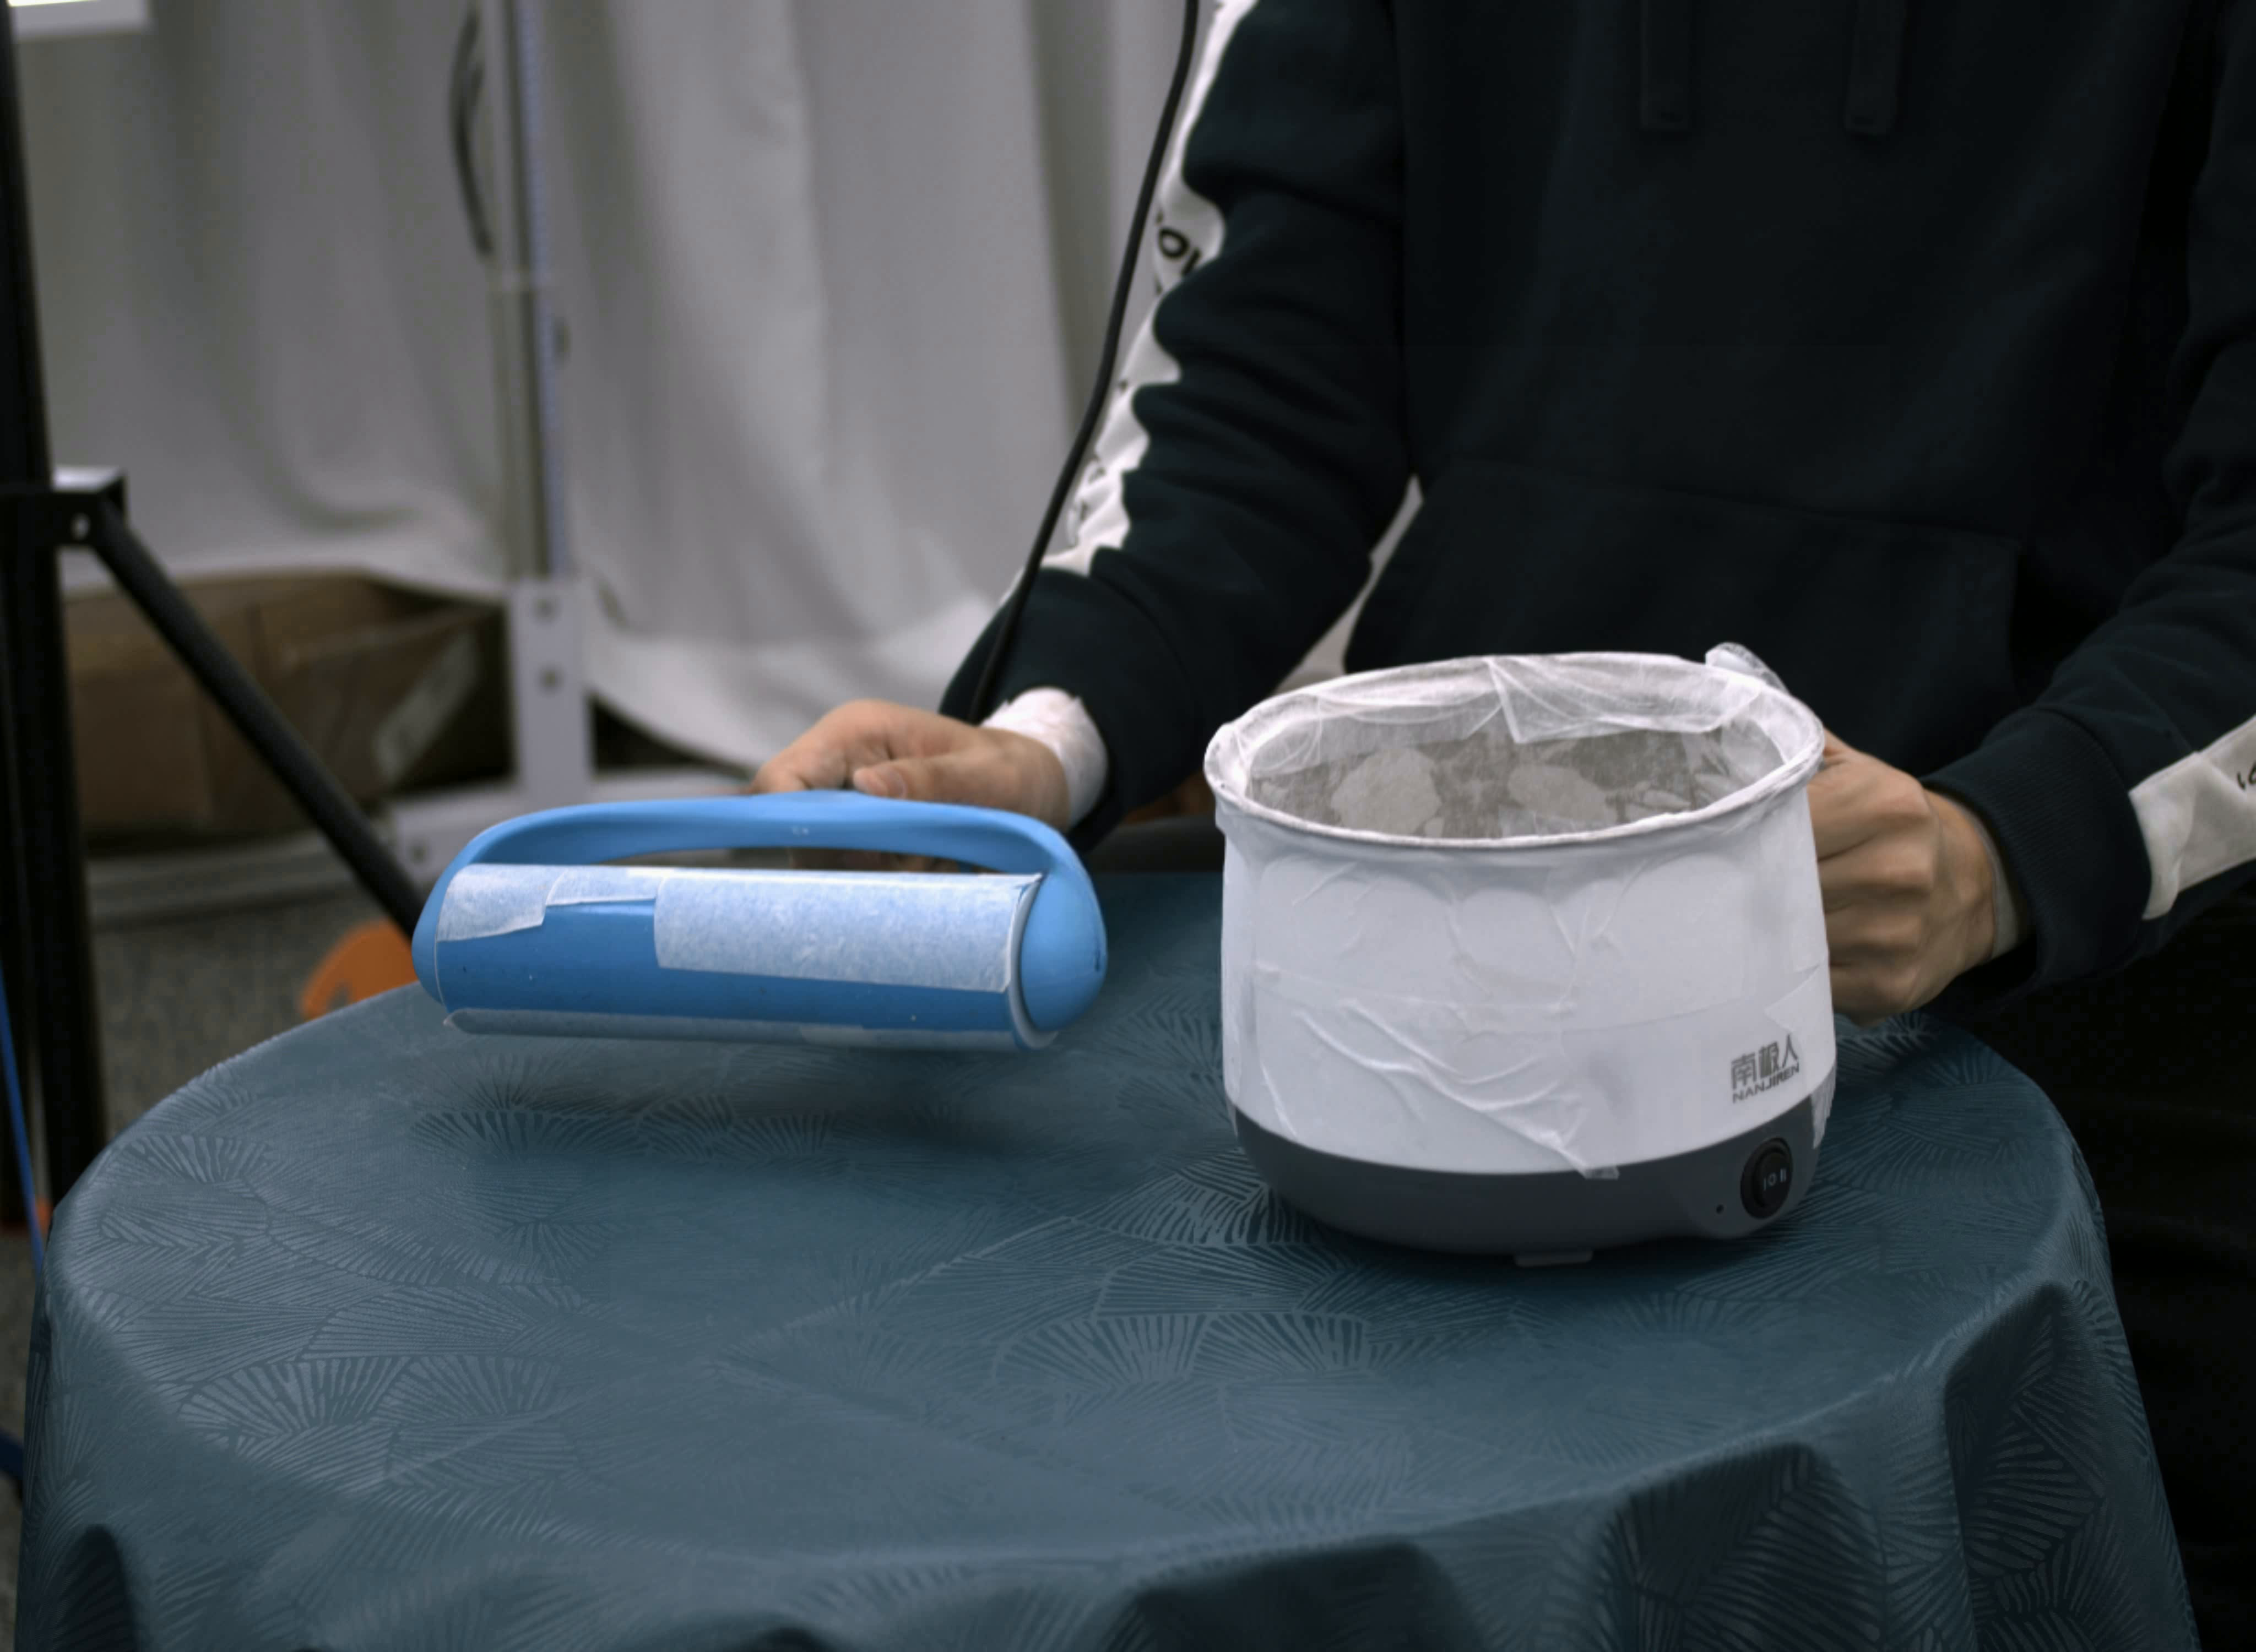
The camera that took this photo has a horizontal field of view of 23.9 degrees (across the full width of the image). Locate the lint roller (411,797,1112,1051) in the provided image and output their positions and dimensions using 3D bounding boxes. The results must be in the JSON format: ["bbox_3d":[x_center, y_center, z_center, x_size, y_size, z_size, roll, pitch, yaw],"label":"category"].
[{"bbox_3d":[-0.098,0.021,1.681,0.231,0.068,0.179,-2,18,19],"label":"lint roller"}]

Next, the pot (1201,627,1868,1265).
[{"bbox_3d":[0.132,0.027,1.536,0.183,0.136,0.229,13,26,43],"label":"pot"}]
